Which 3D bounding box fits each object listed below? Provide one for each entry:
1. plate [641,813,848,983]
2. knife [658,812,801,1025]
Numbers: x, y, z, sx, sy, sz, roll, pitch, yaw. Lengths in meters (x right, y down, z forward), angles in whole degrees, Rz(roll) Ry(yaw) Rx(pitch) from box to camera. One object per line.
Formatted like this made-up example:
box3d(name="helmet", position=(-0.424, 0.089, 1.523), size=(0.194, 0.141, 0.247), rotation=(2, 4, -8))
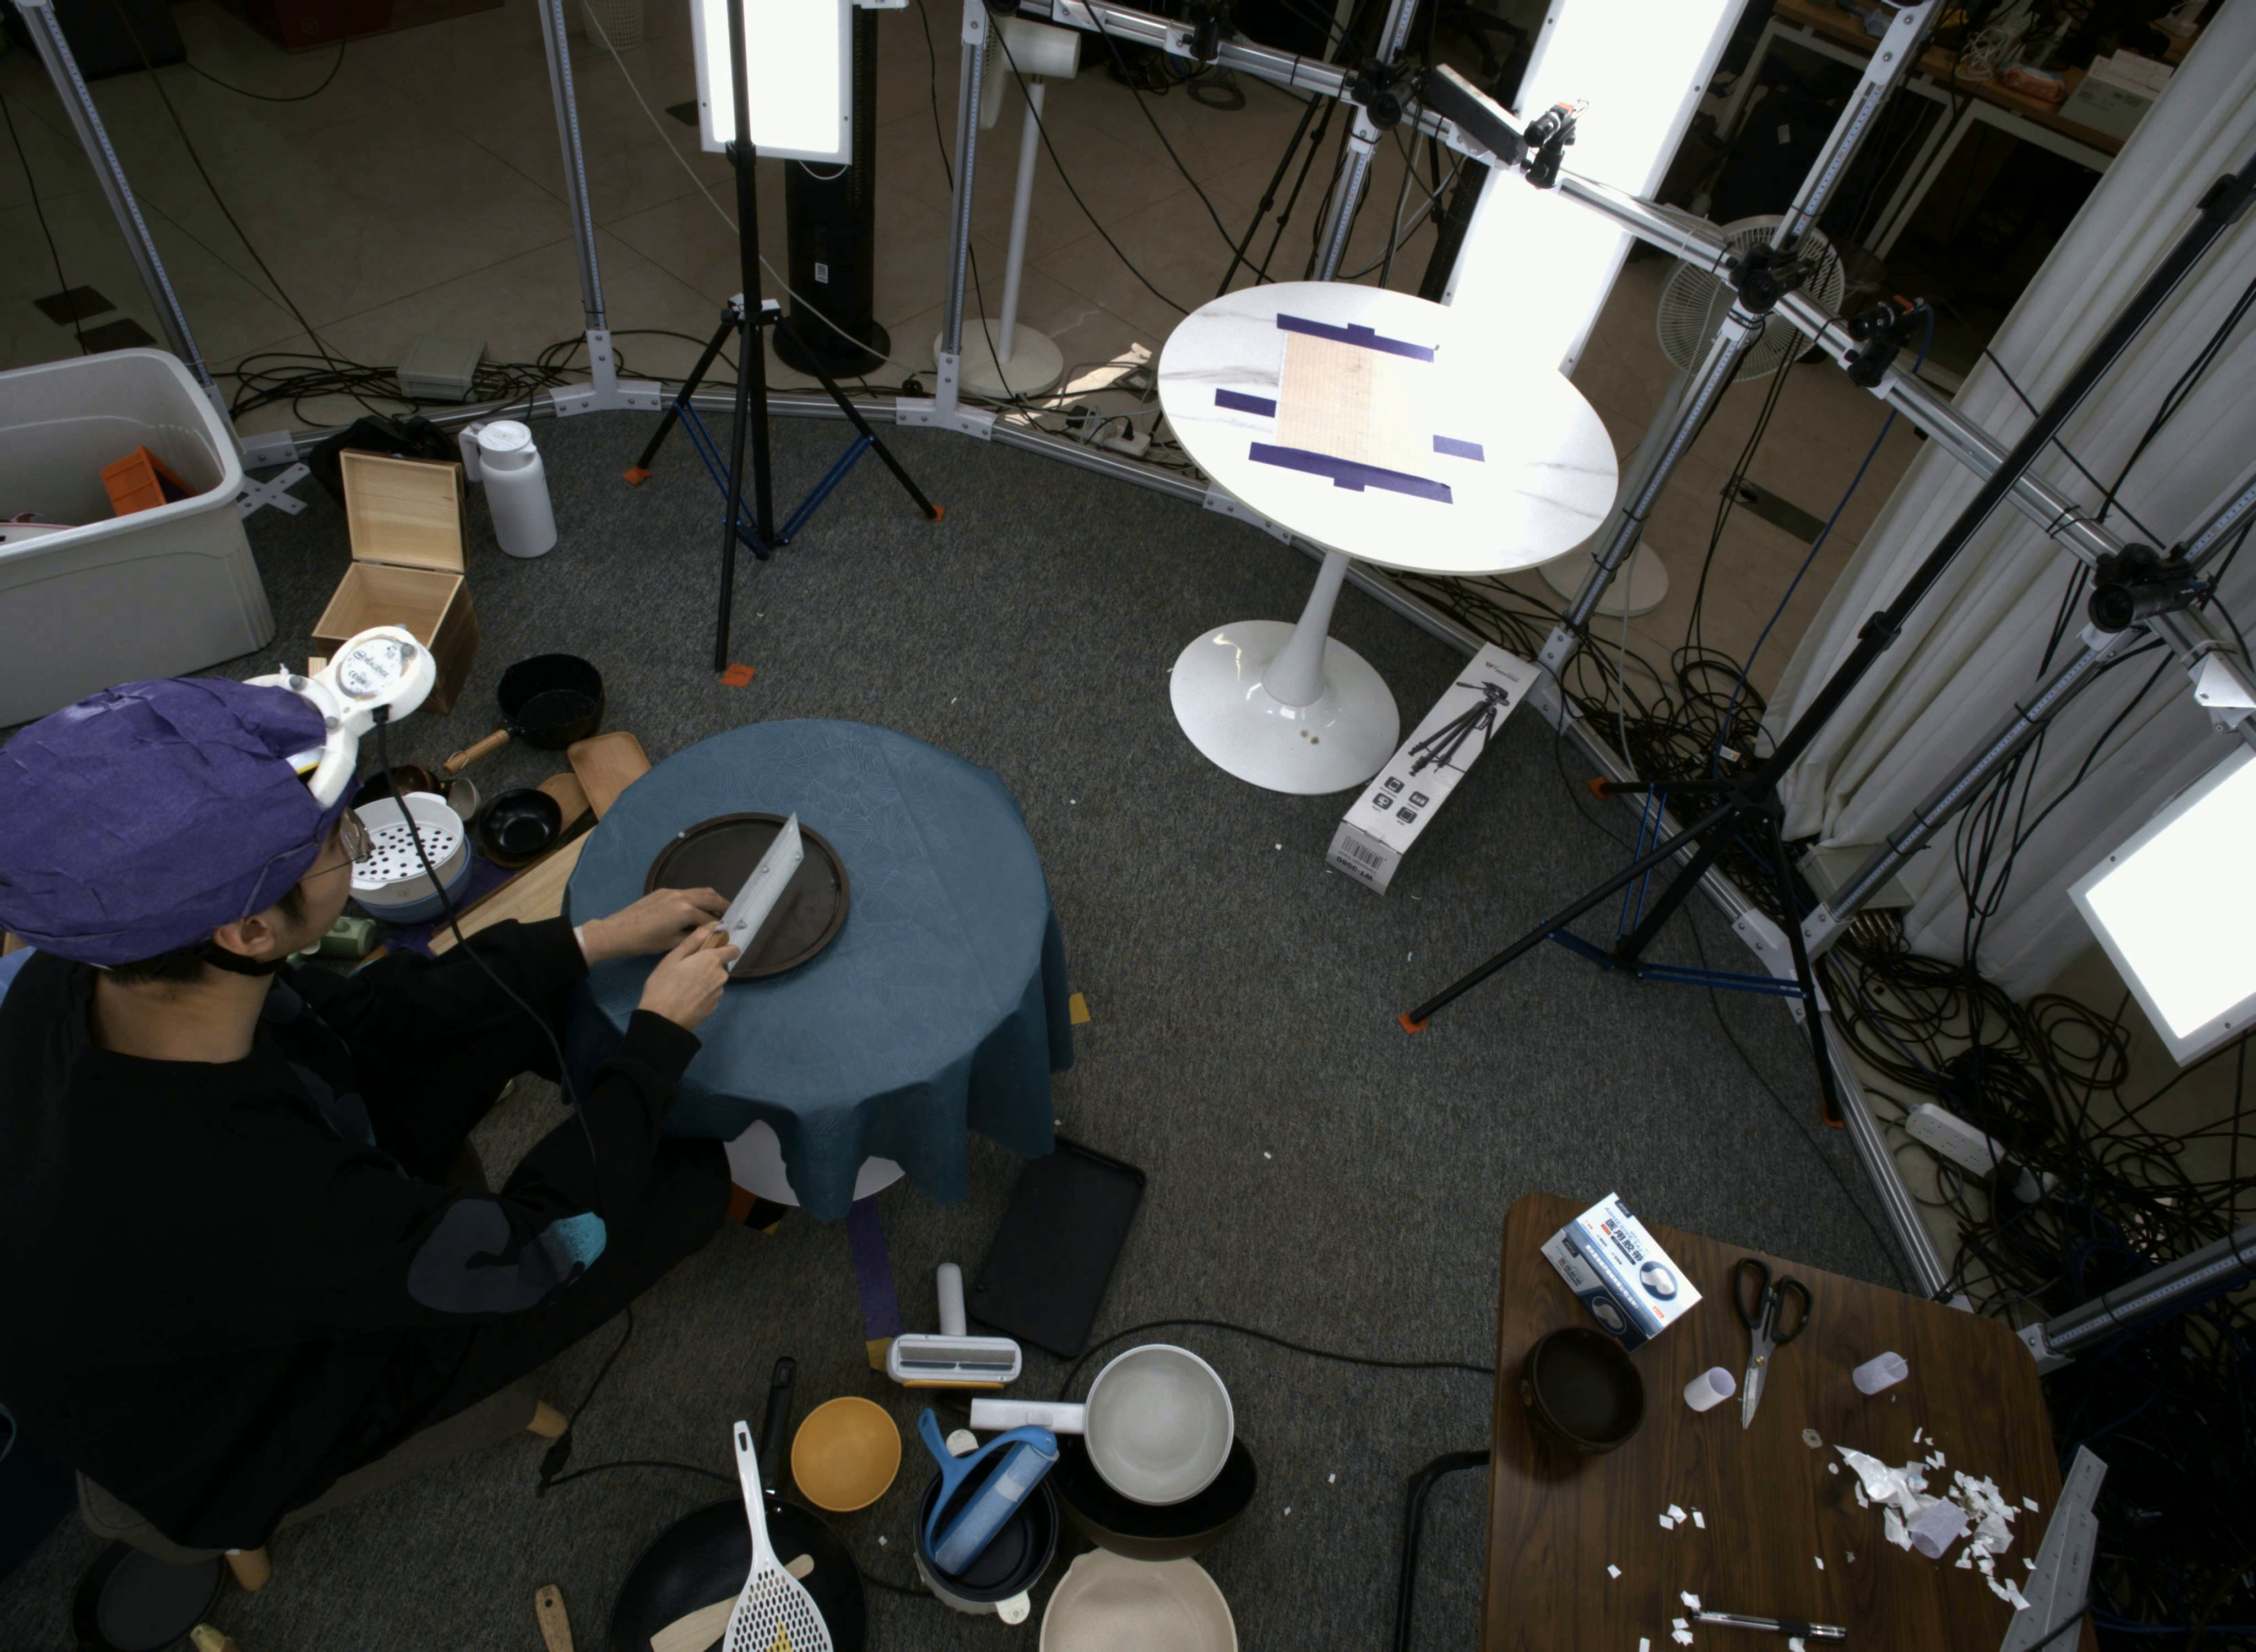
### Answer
box3d(name="plate", position=(-0.478, 0.086, 1.618), size=(0.254, 0.029, 0.250), rotation=(8, 51, -8))
box3d(name="knife", position=(-0.454, 0.114, 1.499), size=(0.020, 0.095, 0.303), rotation=(16, 50, 9))
